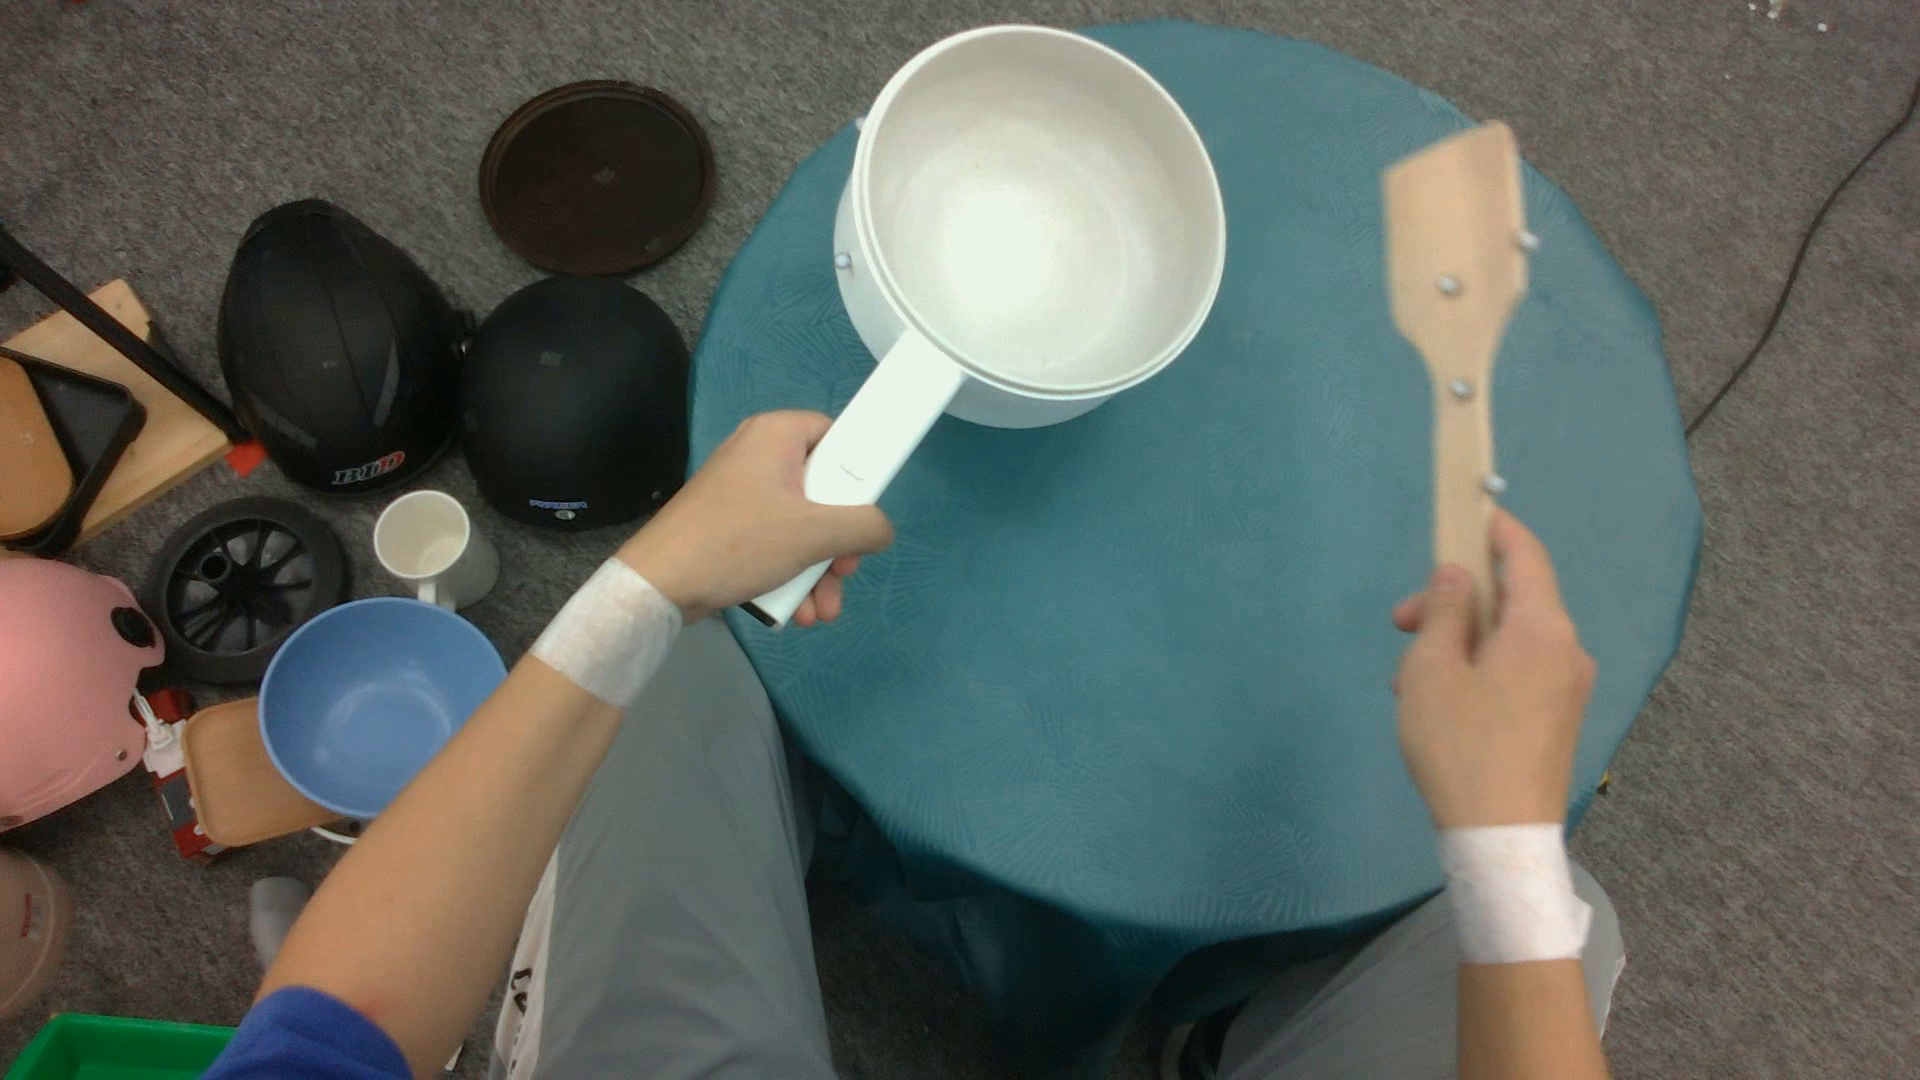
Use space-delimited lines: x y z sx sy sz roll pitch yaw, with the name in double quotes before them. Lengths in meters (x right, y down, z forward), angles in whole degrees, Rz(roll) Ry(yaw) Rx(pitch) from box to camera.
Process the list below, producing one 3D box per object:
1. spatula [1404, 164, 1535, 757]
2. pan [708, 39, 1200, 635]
"spatula" 0.244 -0.042 0.663 0.010 0.072 0.294 18 70 -34
"pan" -0.018 -0.100 0.734 0.201 0.102 0.356 36 71 -9
